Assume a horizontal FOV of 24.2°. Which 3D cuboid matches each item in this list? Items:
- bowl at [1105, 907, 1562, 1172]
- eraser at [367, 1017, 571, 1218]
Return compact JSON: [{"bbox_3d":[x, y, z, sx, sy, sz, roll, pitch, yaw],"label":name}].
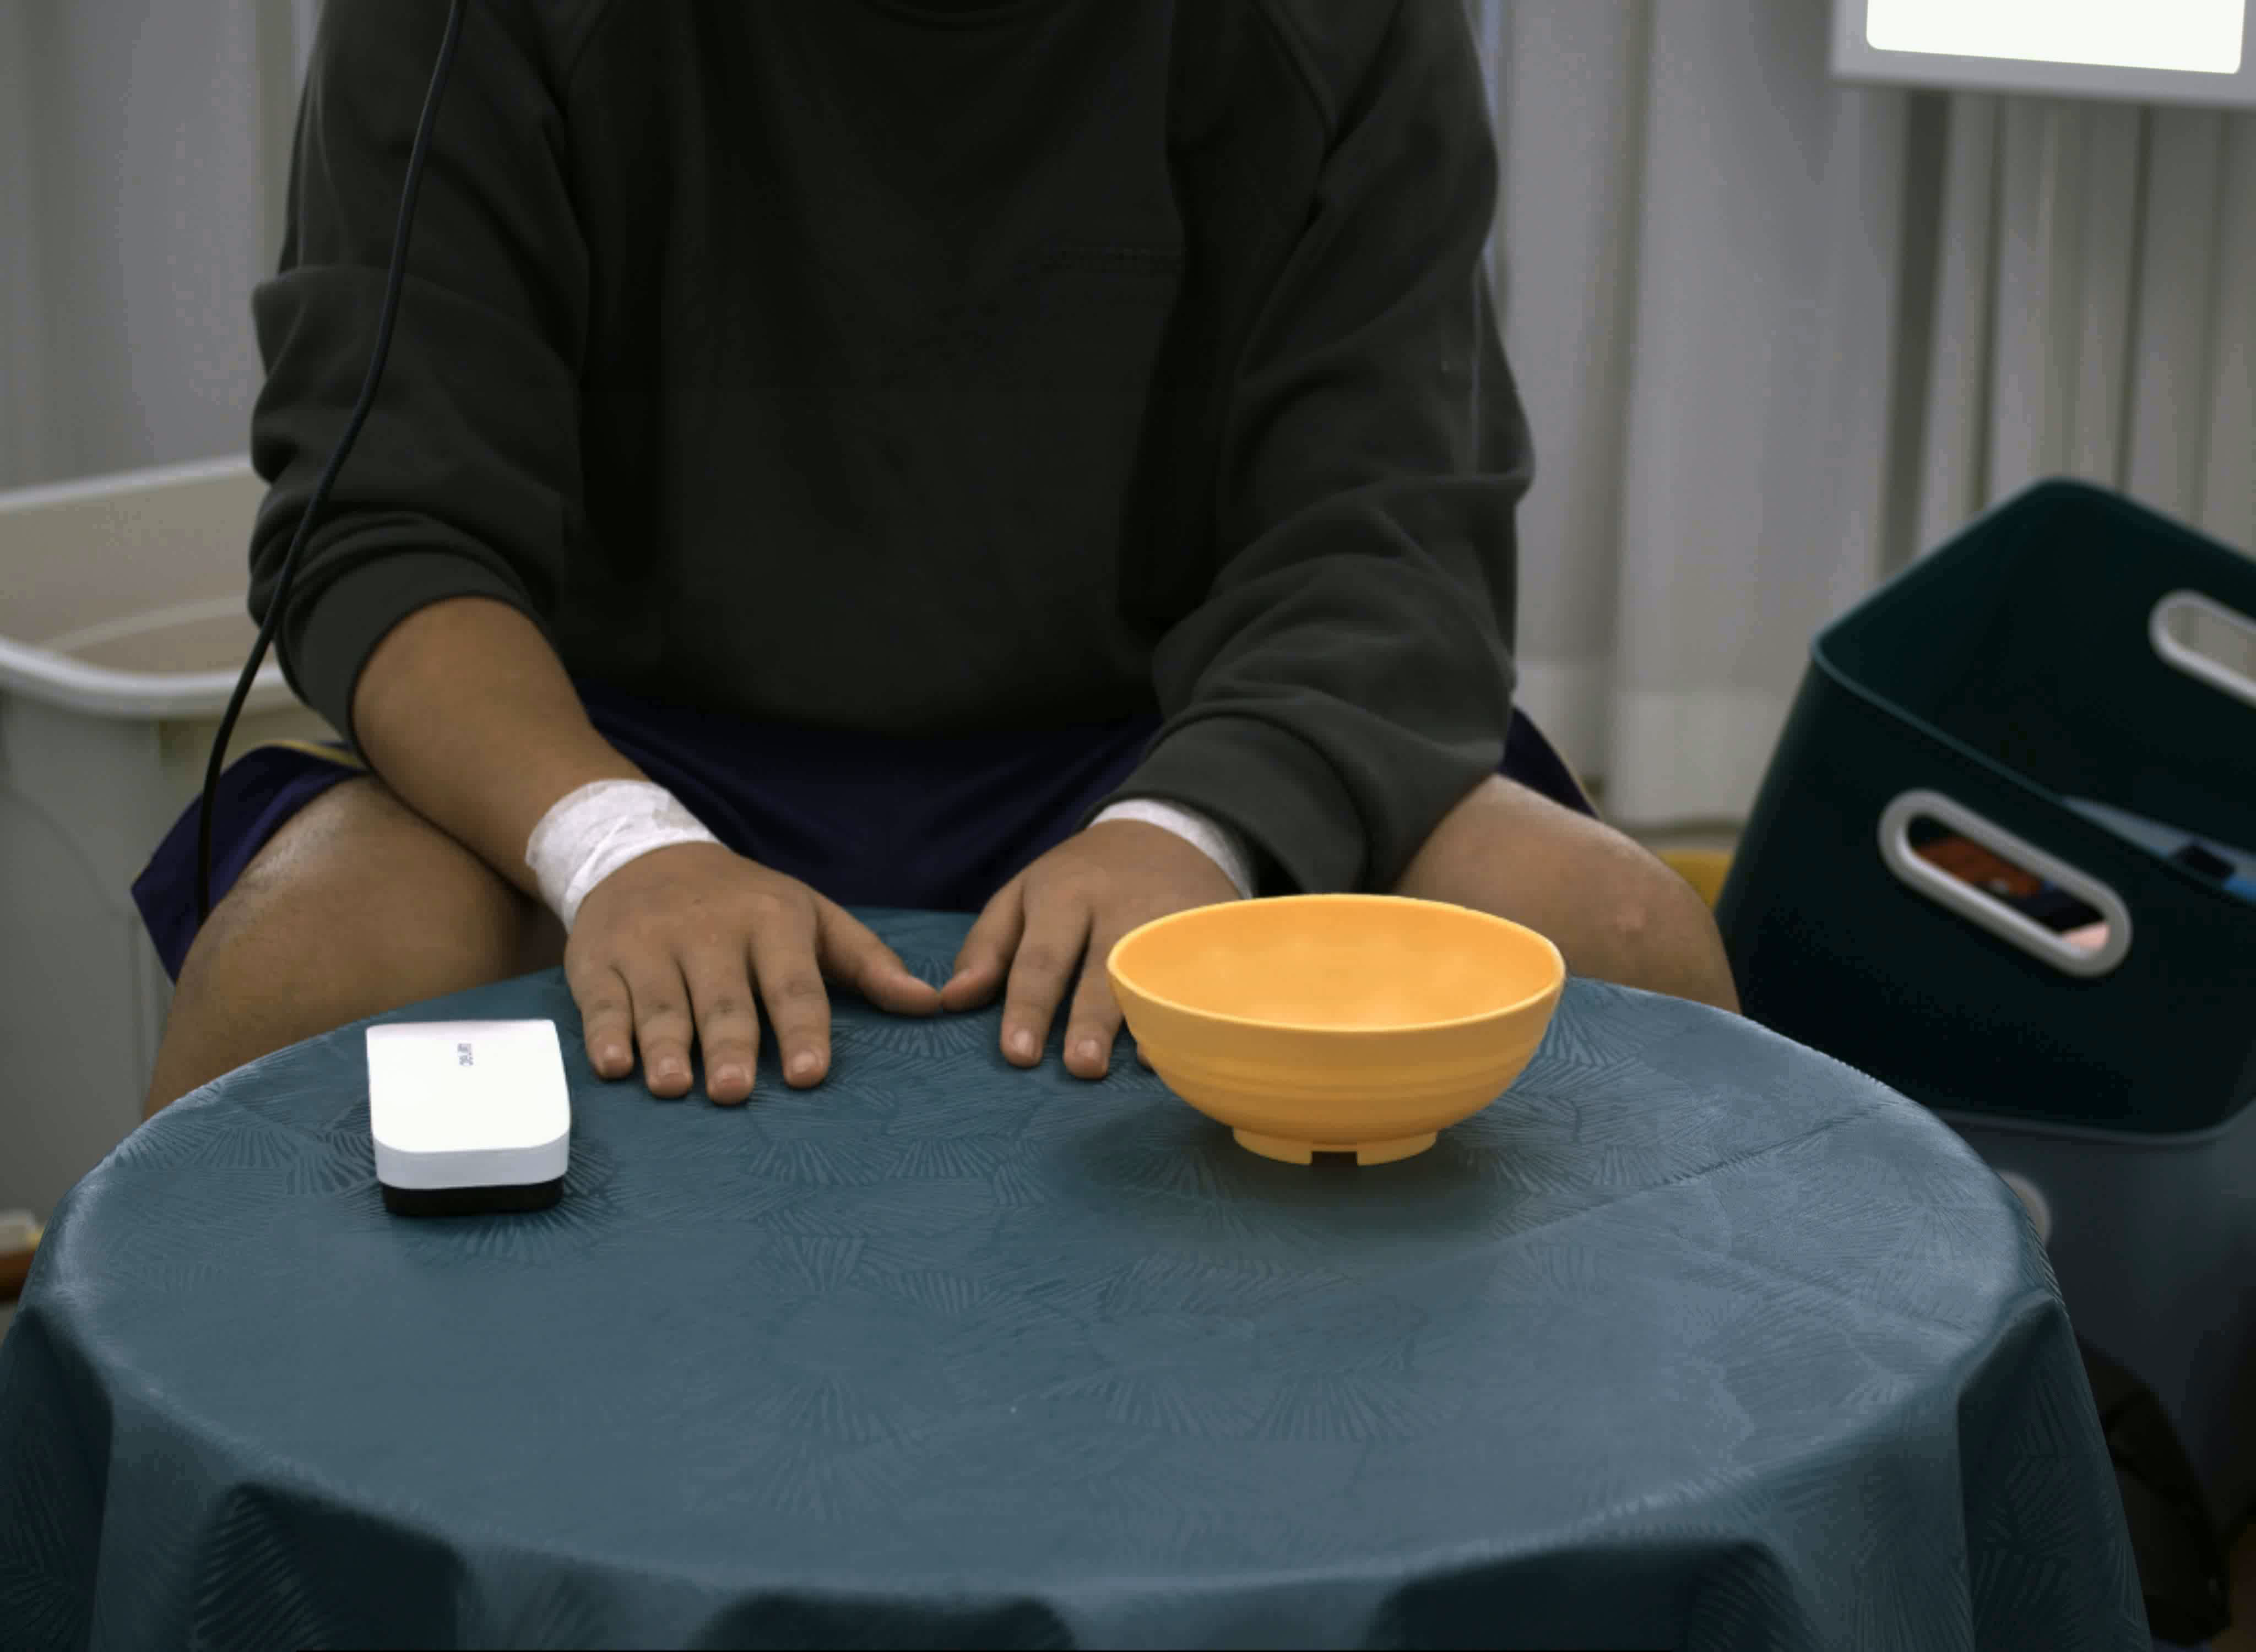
[{"bbox_3d":[0.064,0.072,1.669,0.145,0.060,0.144,1,13,0],"label":"bowl"},{"bbox_3d":[-0.206,0.086,1.649,0.063,0.035,0.130,-1,17,-8],"label":"eraser"}]
